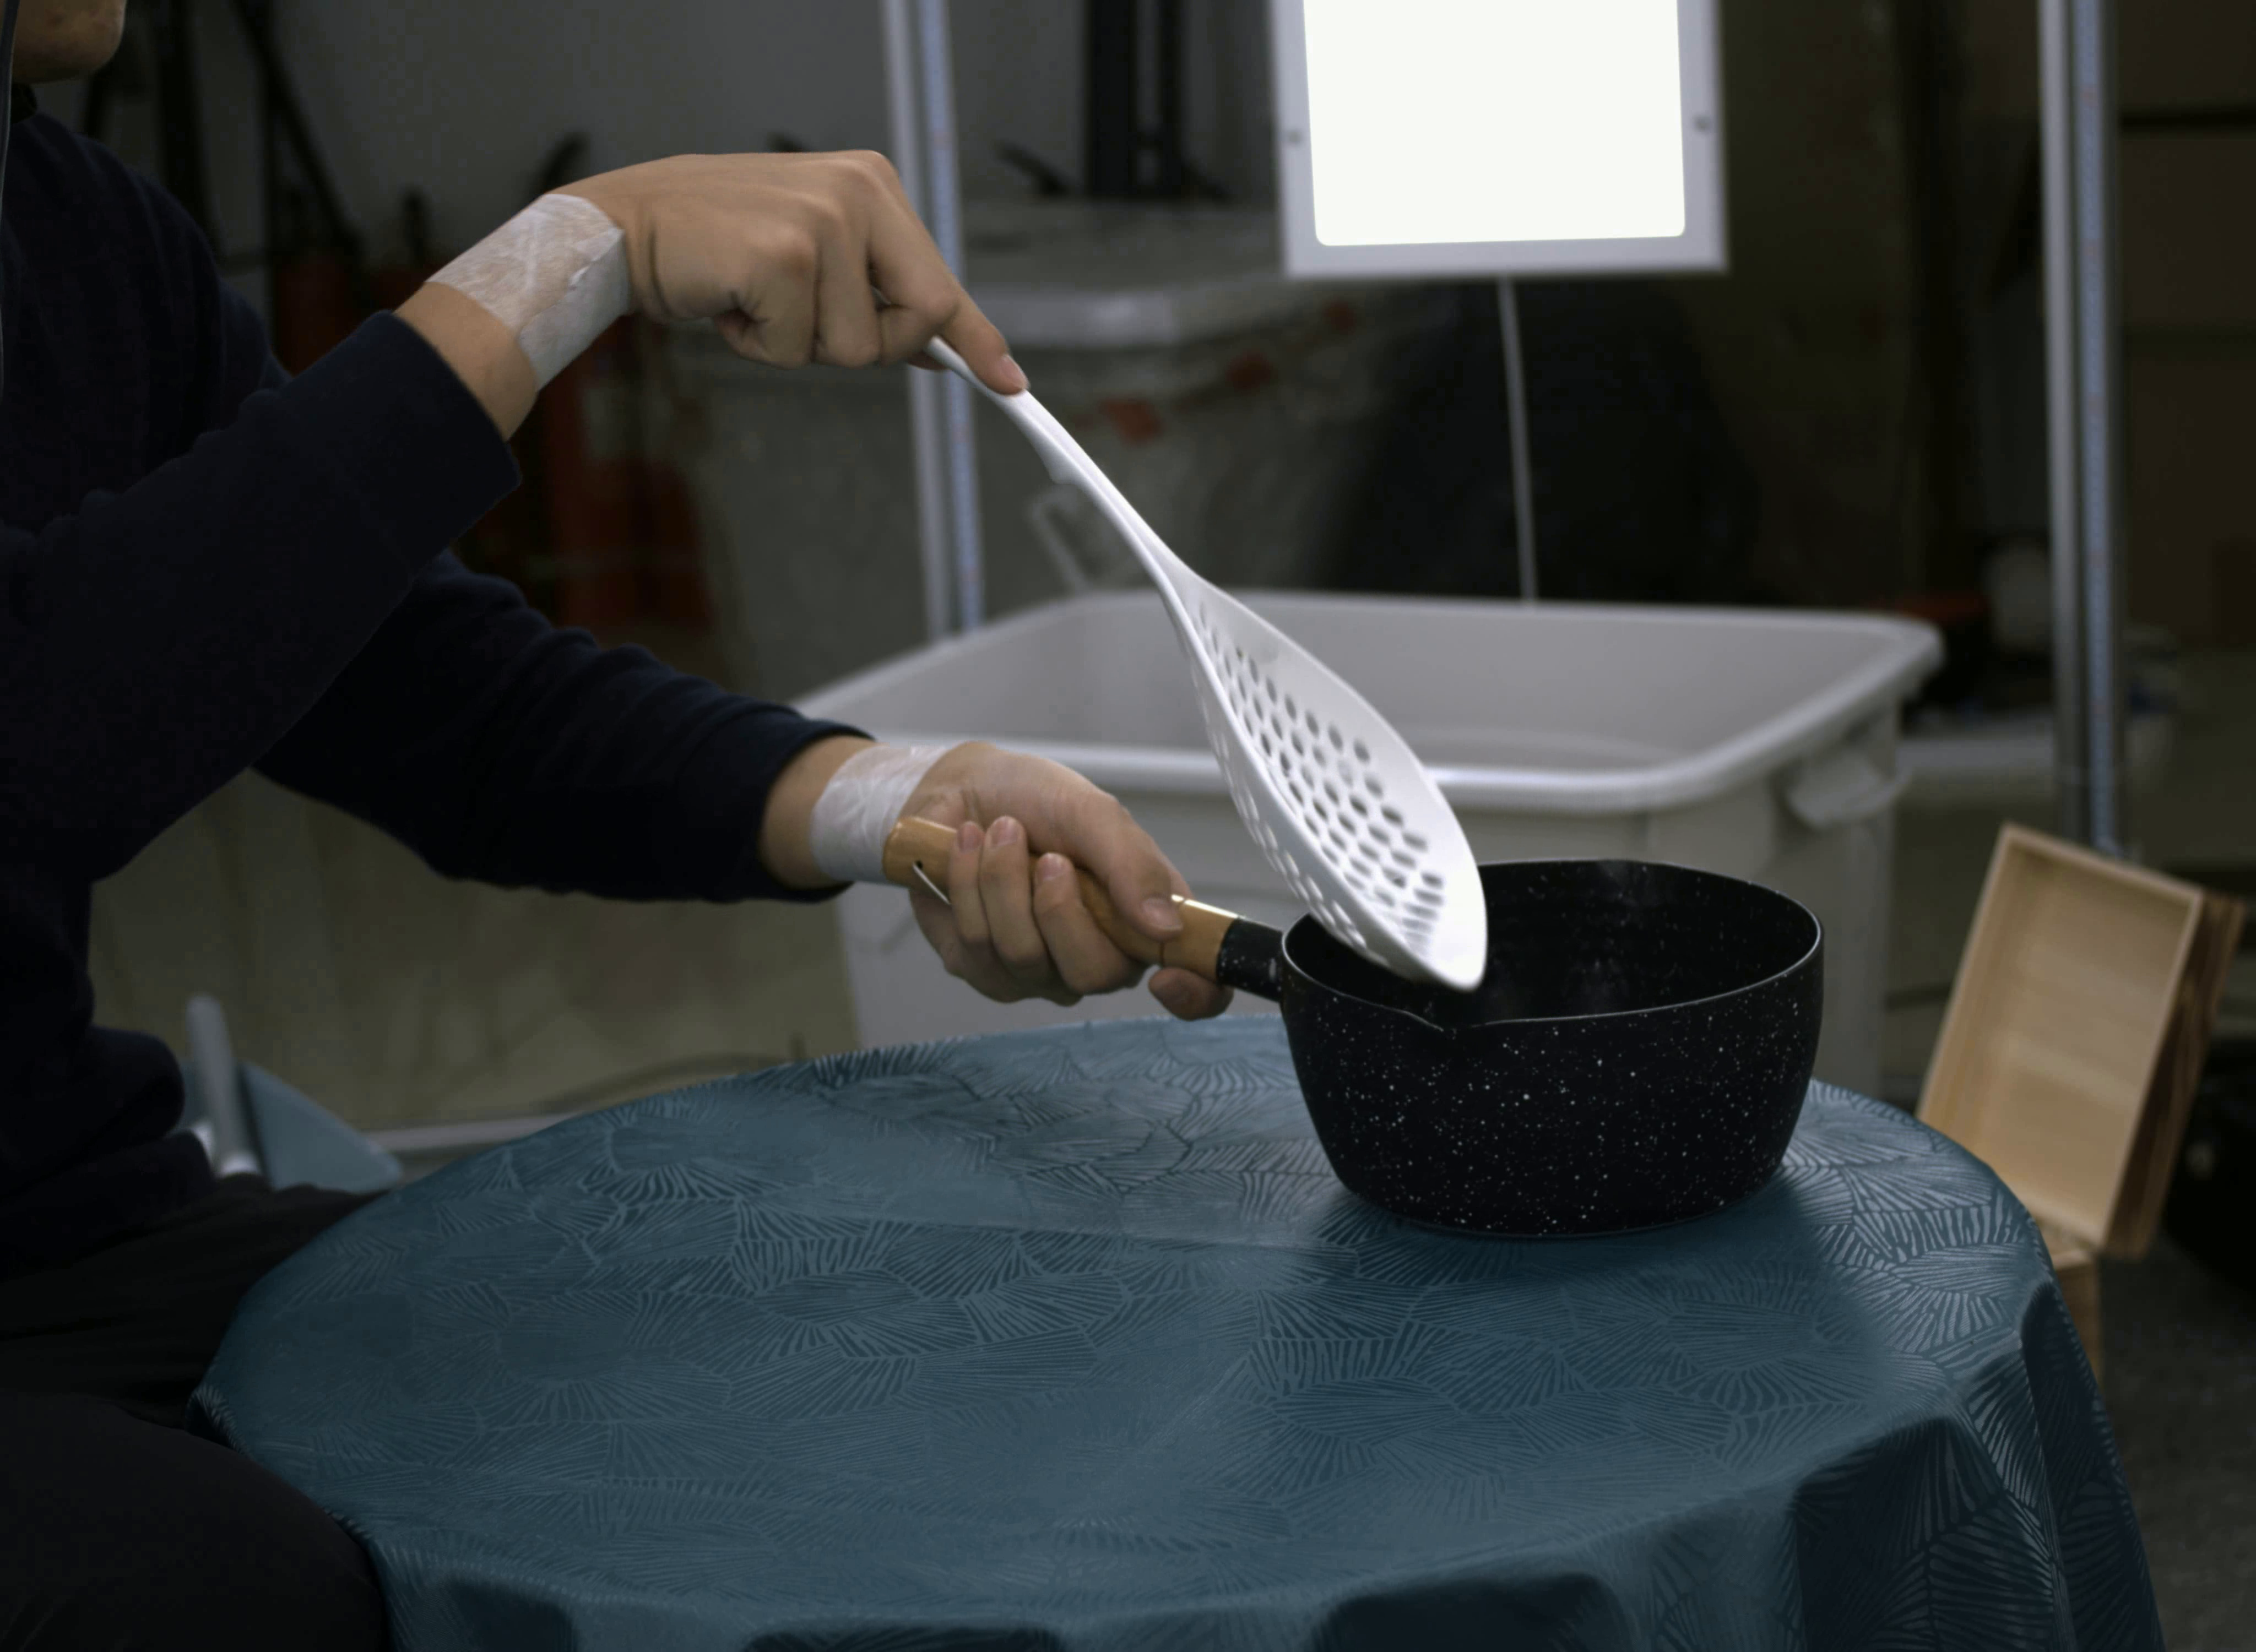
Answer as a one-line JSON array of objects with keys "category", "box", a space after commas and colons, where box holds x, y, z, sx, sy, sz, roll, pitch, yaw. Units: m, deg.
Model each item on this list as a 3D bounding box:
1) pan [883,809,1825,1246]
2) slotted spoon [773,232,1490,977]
[{"category": "pan", "box": [0.071, 0.060, 1.895, 0.348, 0.109, 0.203, 5, 18, 24]}, {"category": "slotted spoon", "box": [0.006, -0.080, 1.839, 0.051, 0.345, 0.136, -30, 23, 22]}]
